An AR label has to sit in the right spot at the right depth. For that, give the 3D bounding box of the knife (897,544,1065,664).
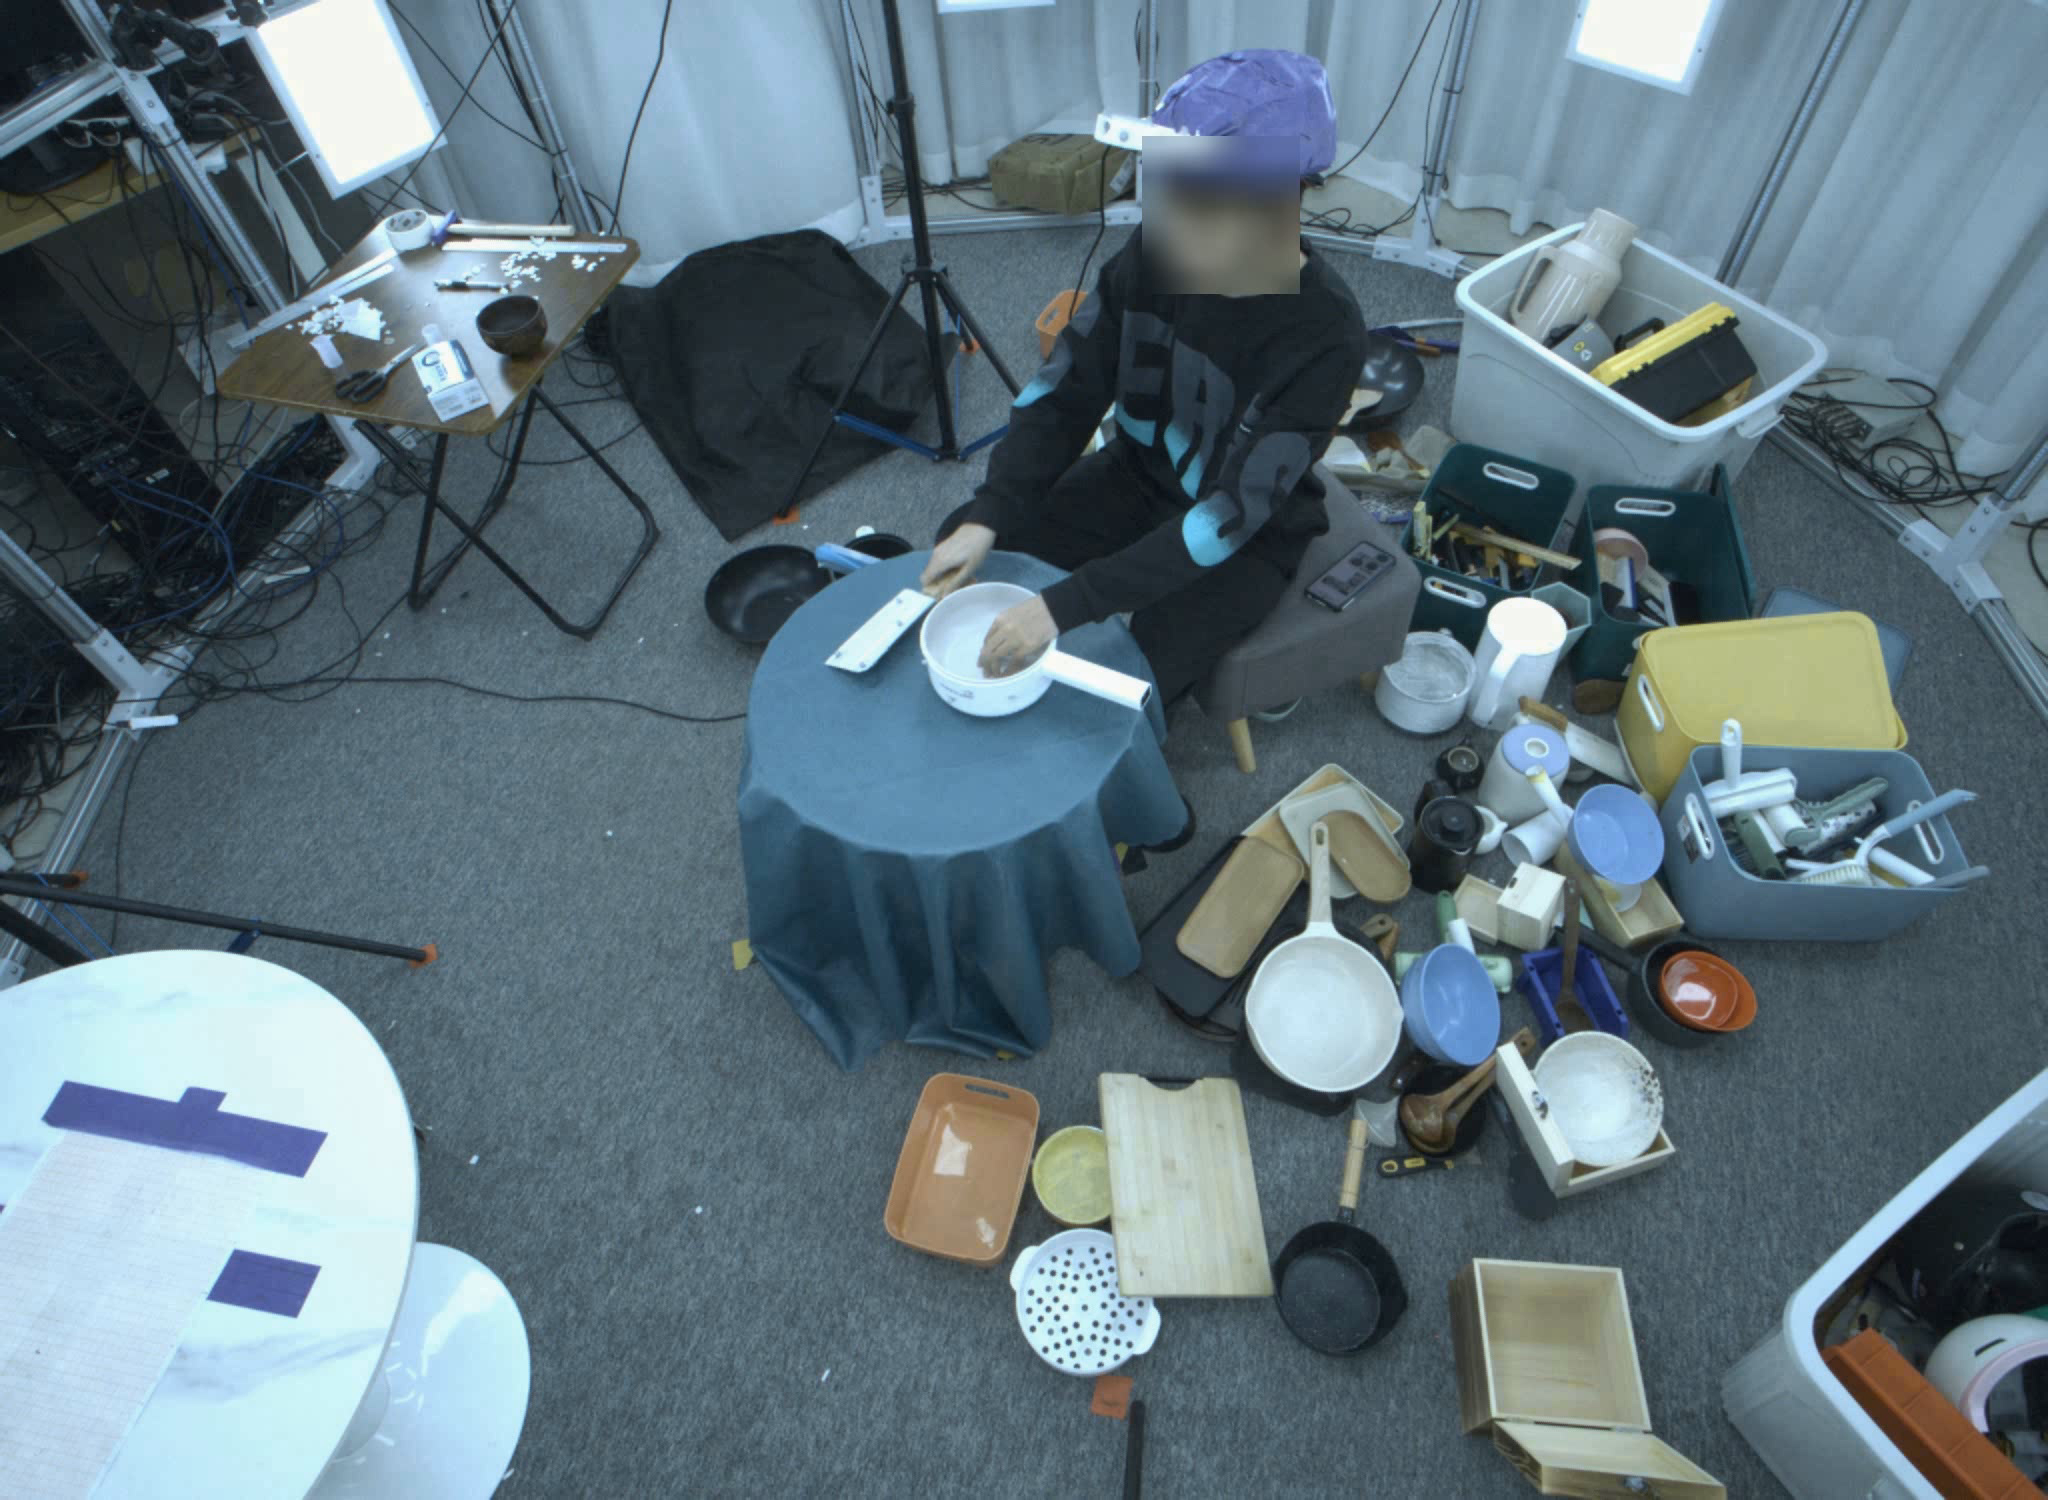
[{"bbox_3d":[-0.058,-0.229,1.919,0.317,0.022,0.111,-39,40,-19],"label":"knife"}]

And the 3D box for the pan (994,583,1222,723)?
[{"bbox_3d":[0.123,-0.111,1.800,0.350,0.103,0.202,27,59,19],"label":"pan"}]
